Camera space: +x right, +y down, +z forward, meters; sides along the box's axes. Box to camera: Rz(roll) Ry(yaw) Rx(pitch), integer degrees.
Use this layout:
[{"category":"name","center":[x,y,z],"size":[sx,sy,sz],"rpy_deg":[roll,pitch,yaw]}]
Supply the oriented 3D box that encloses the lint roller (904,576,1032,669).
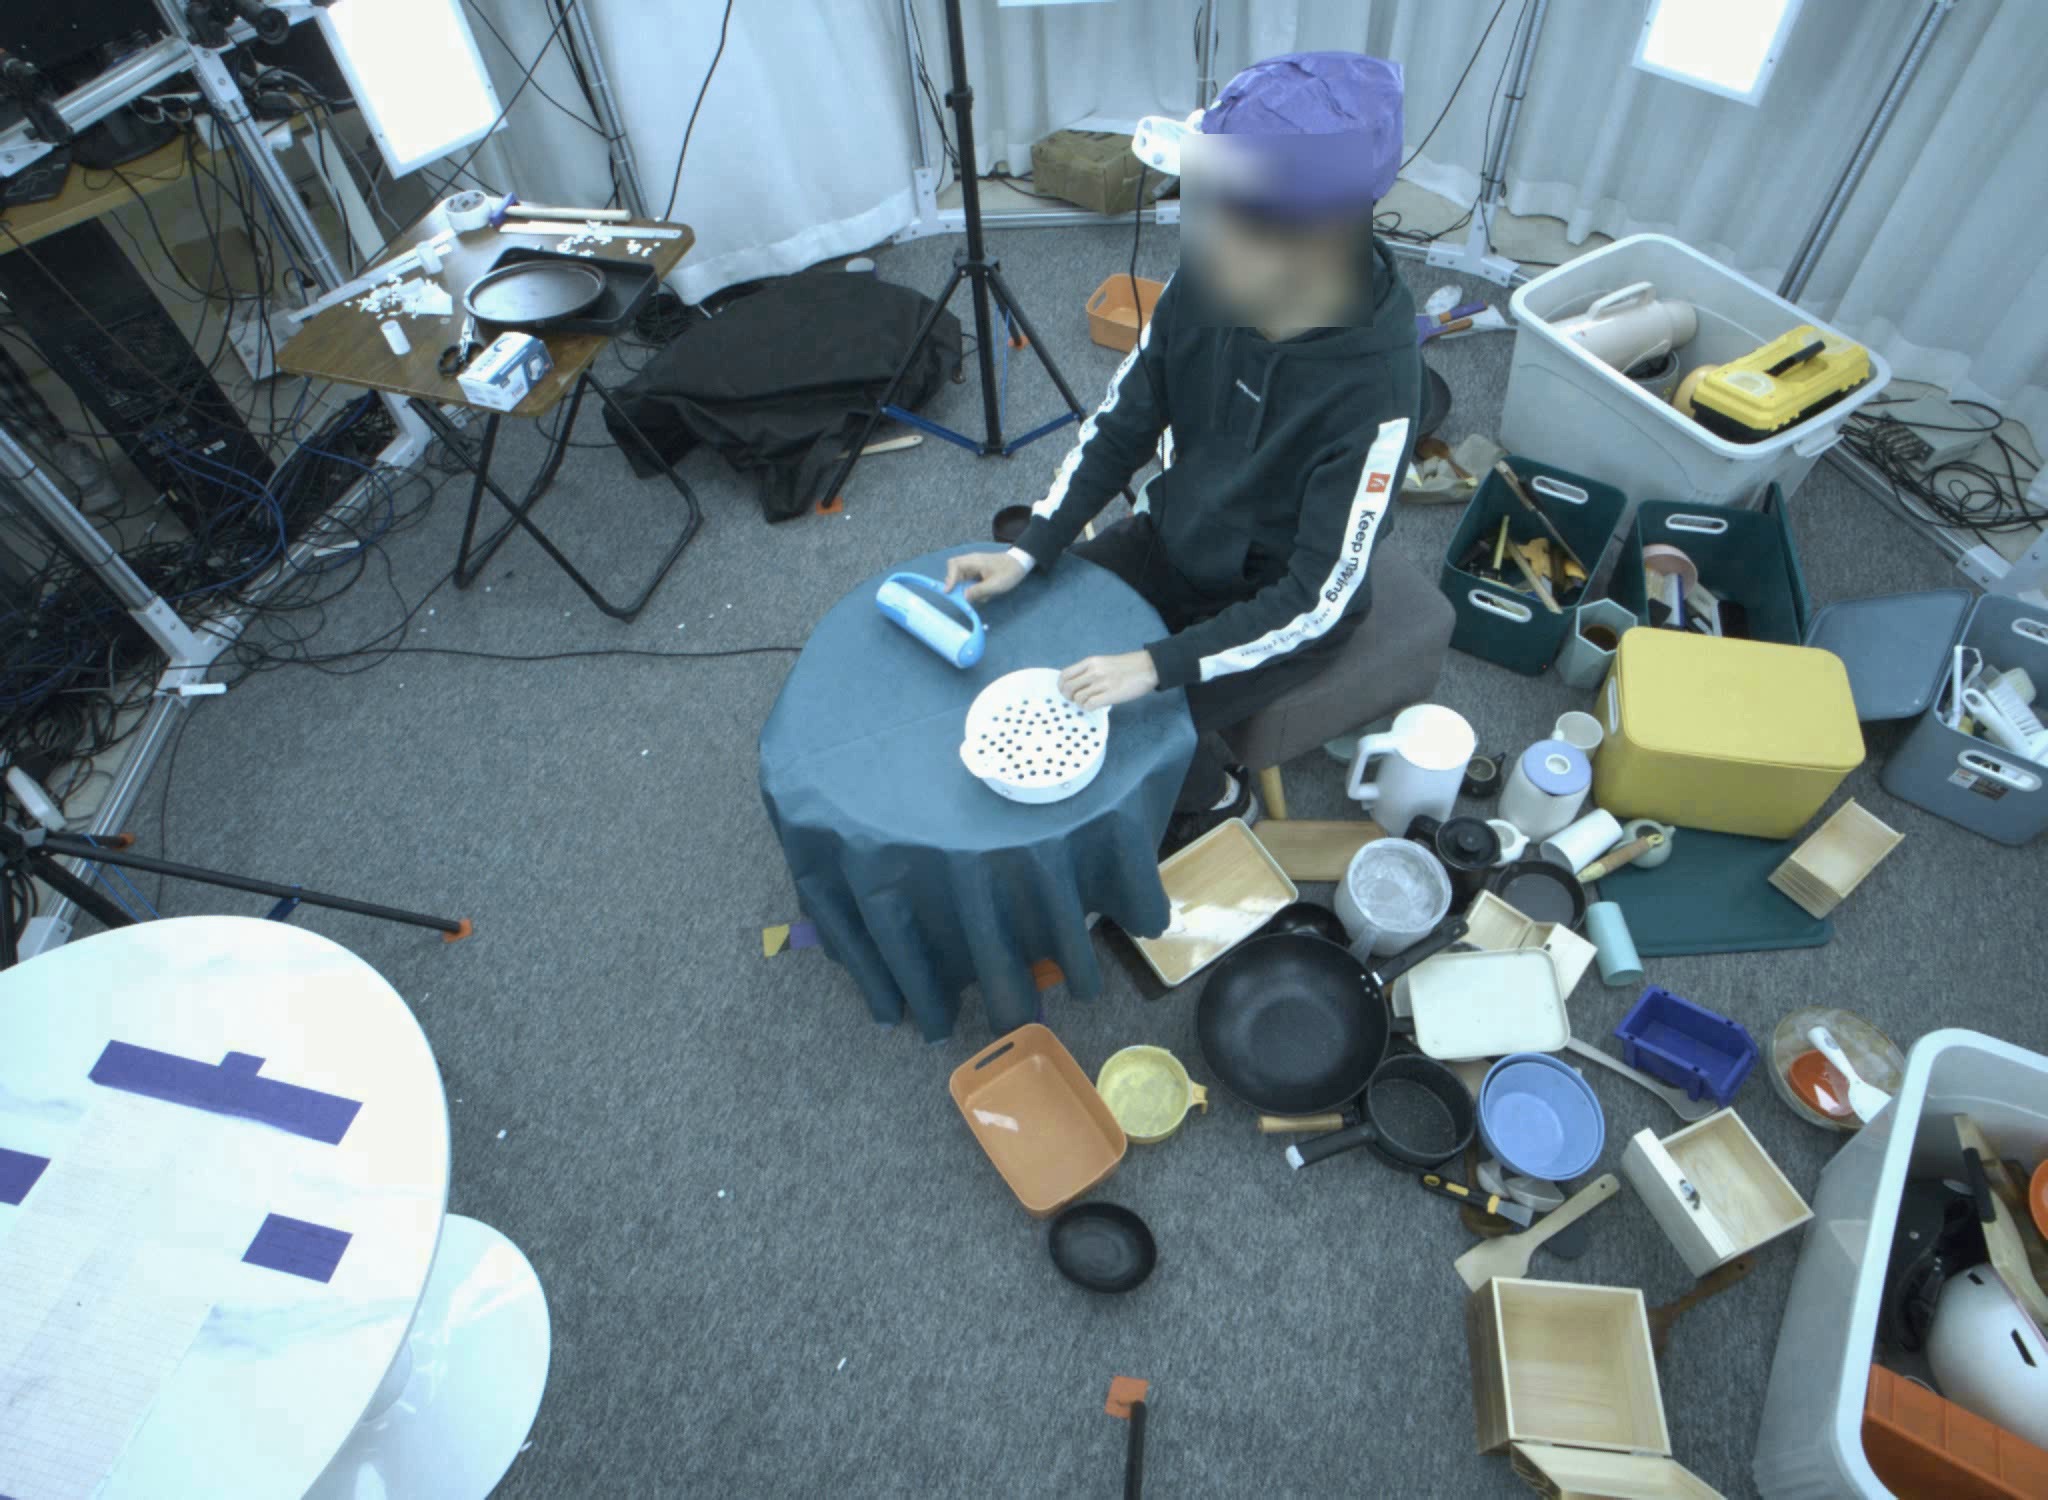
[{"category":"lint roller","center":[-0.062,-0.224,1.892],"size":[0.224,0.069,0.181],"rpy_deg":[32,59,32]}]

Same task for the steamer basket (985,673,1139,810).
[{"category":"steamer basket","center":[0.055,-0.010,1.739],"size":[0.232,0.070,0.198],"rpy_deg":[-27,63,-15]}]
